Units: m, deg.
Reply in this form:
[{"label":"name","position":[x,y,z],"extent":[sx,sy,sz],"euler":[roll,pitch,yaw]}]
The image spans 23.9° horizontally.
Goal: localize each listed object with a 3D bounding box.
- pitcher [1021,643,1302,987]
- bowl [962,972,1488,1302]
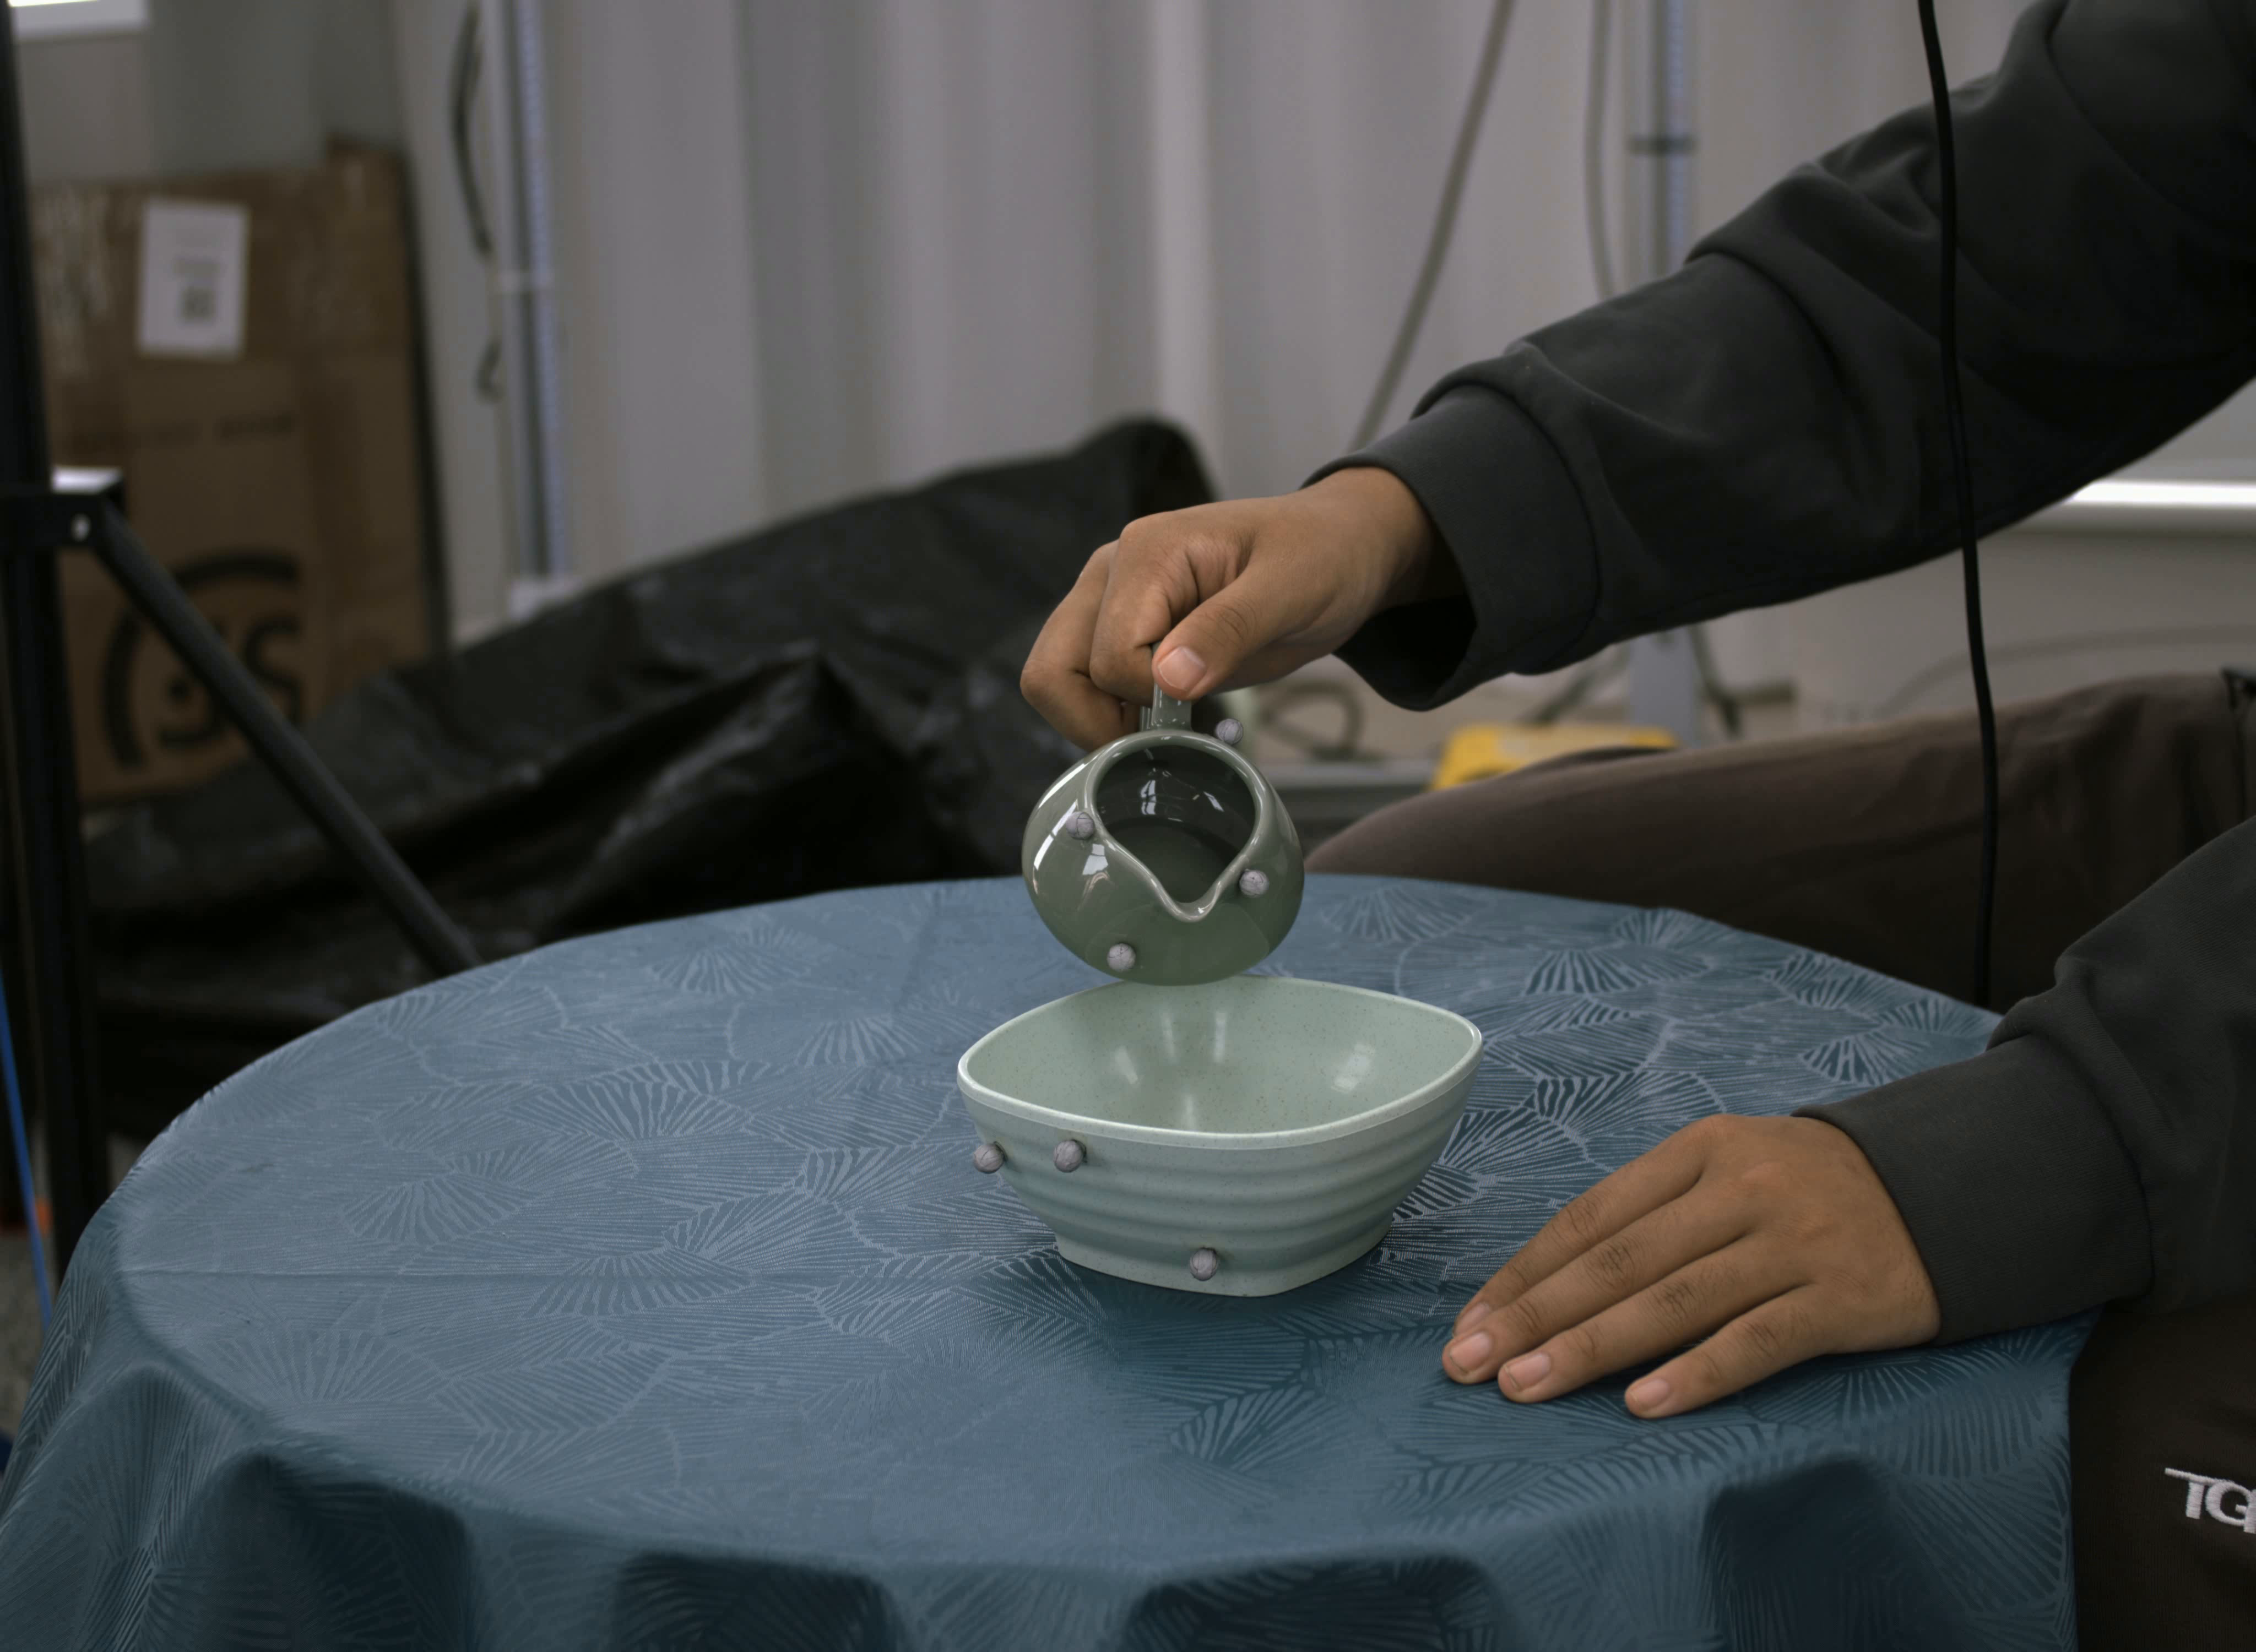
[{"label":"pitcher","position":[0.011,0.001,1.562],"extent":[0.083,0.056,0.114],"euler":[2,48,-9]},{"label":"bowl","position":[0.029,0.092,1.509],"extent":[0.151,0.058,0.152],"euler":[-4,17,0]}]
